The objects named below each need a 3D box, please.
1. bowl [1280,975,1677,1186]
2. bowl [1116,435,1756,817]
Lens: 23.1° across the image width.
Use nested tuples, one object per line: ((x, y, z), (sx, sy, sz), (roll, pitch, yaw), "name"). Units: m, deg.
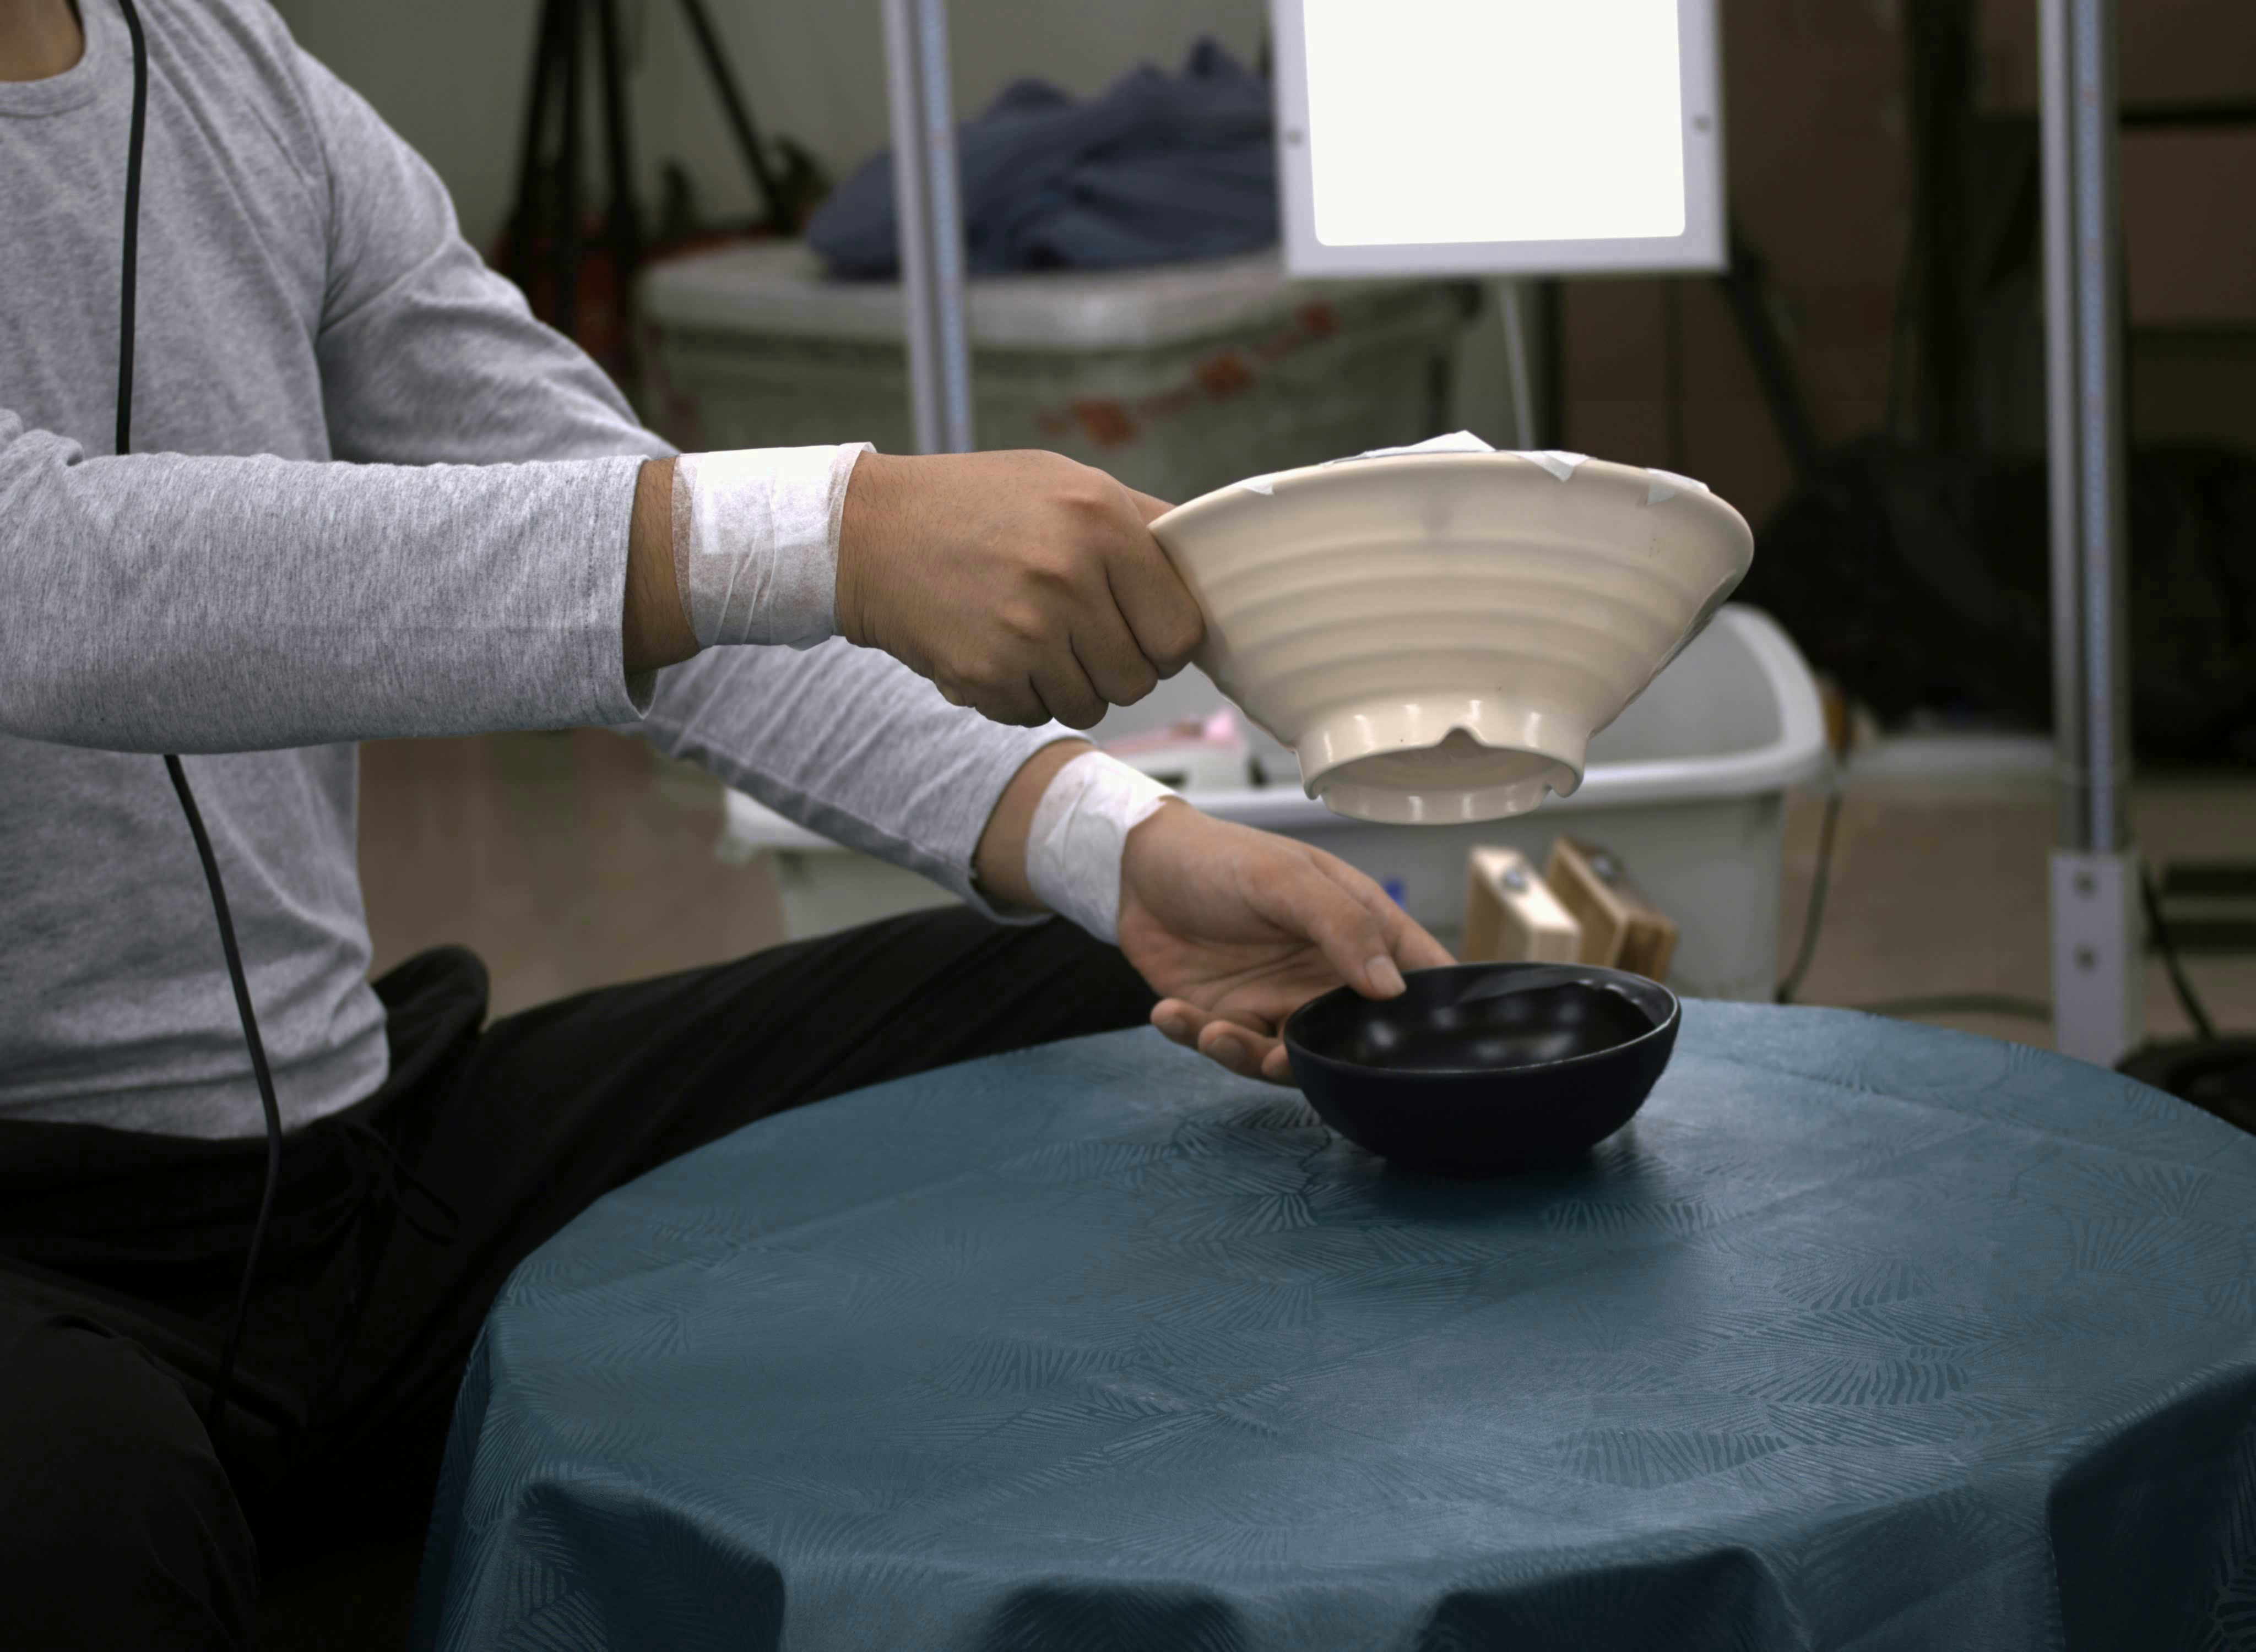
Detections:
((0.125, 0.092, 1.910), (0.140, 0.050, 0.140), (-8, 10, 0), "bowl")
((0.098, -0.052, 1.730), (0.203, 0.078, 0.204), (0, -17, -1), "bowl")
